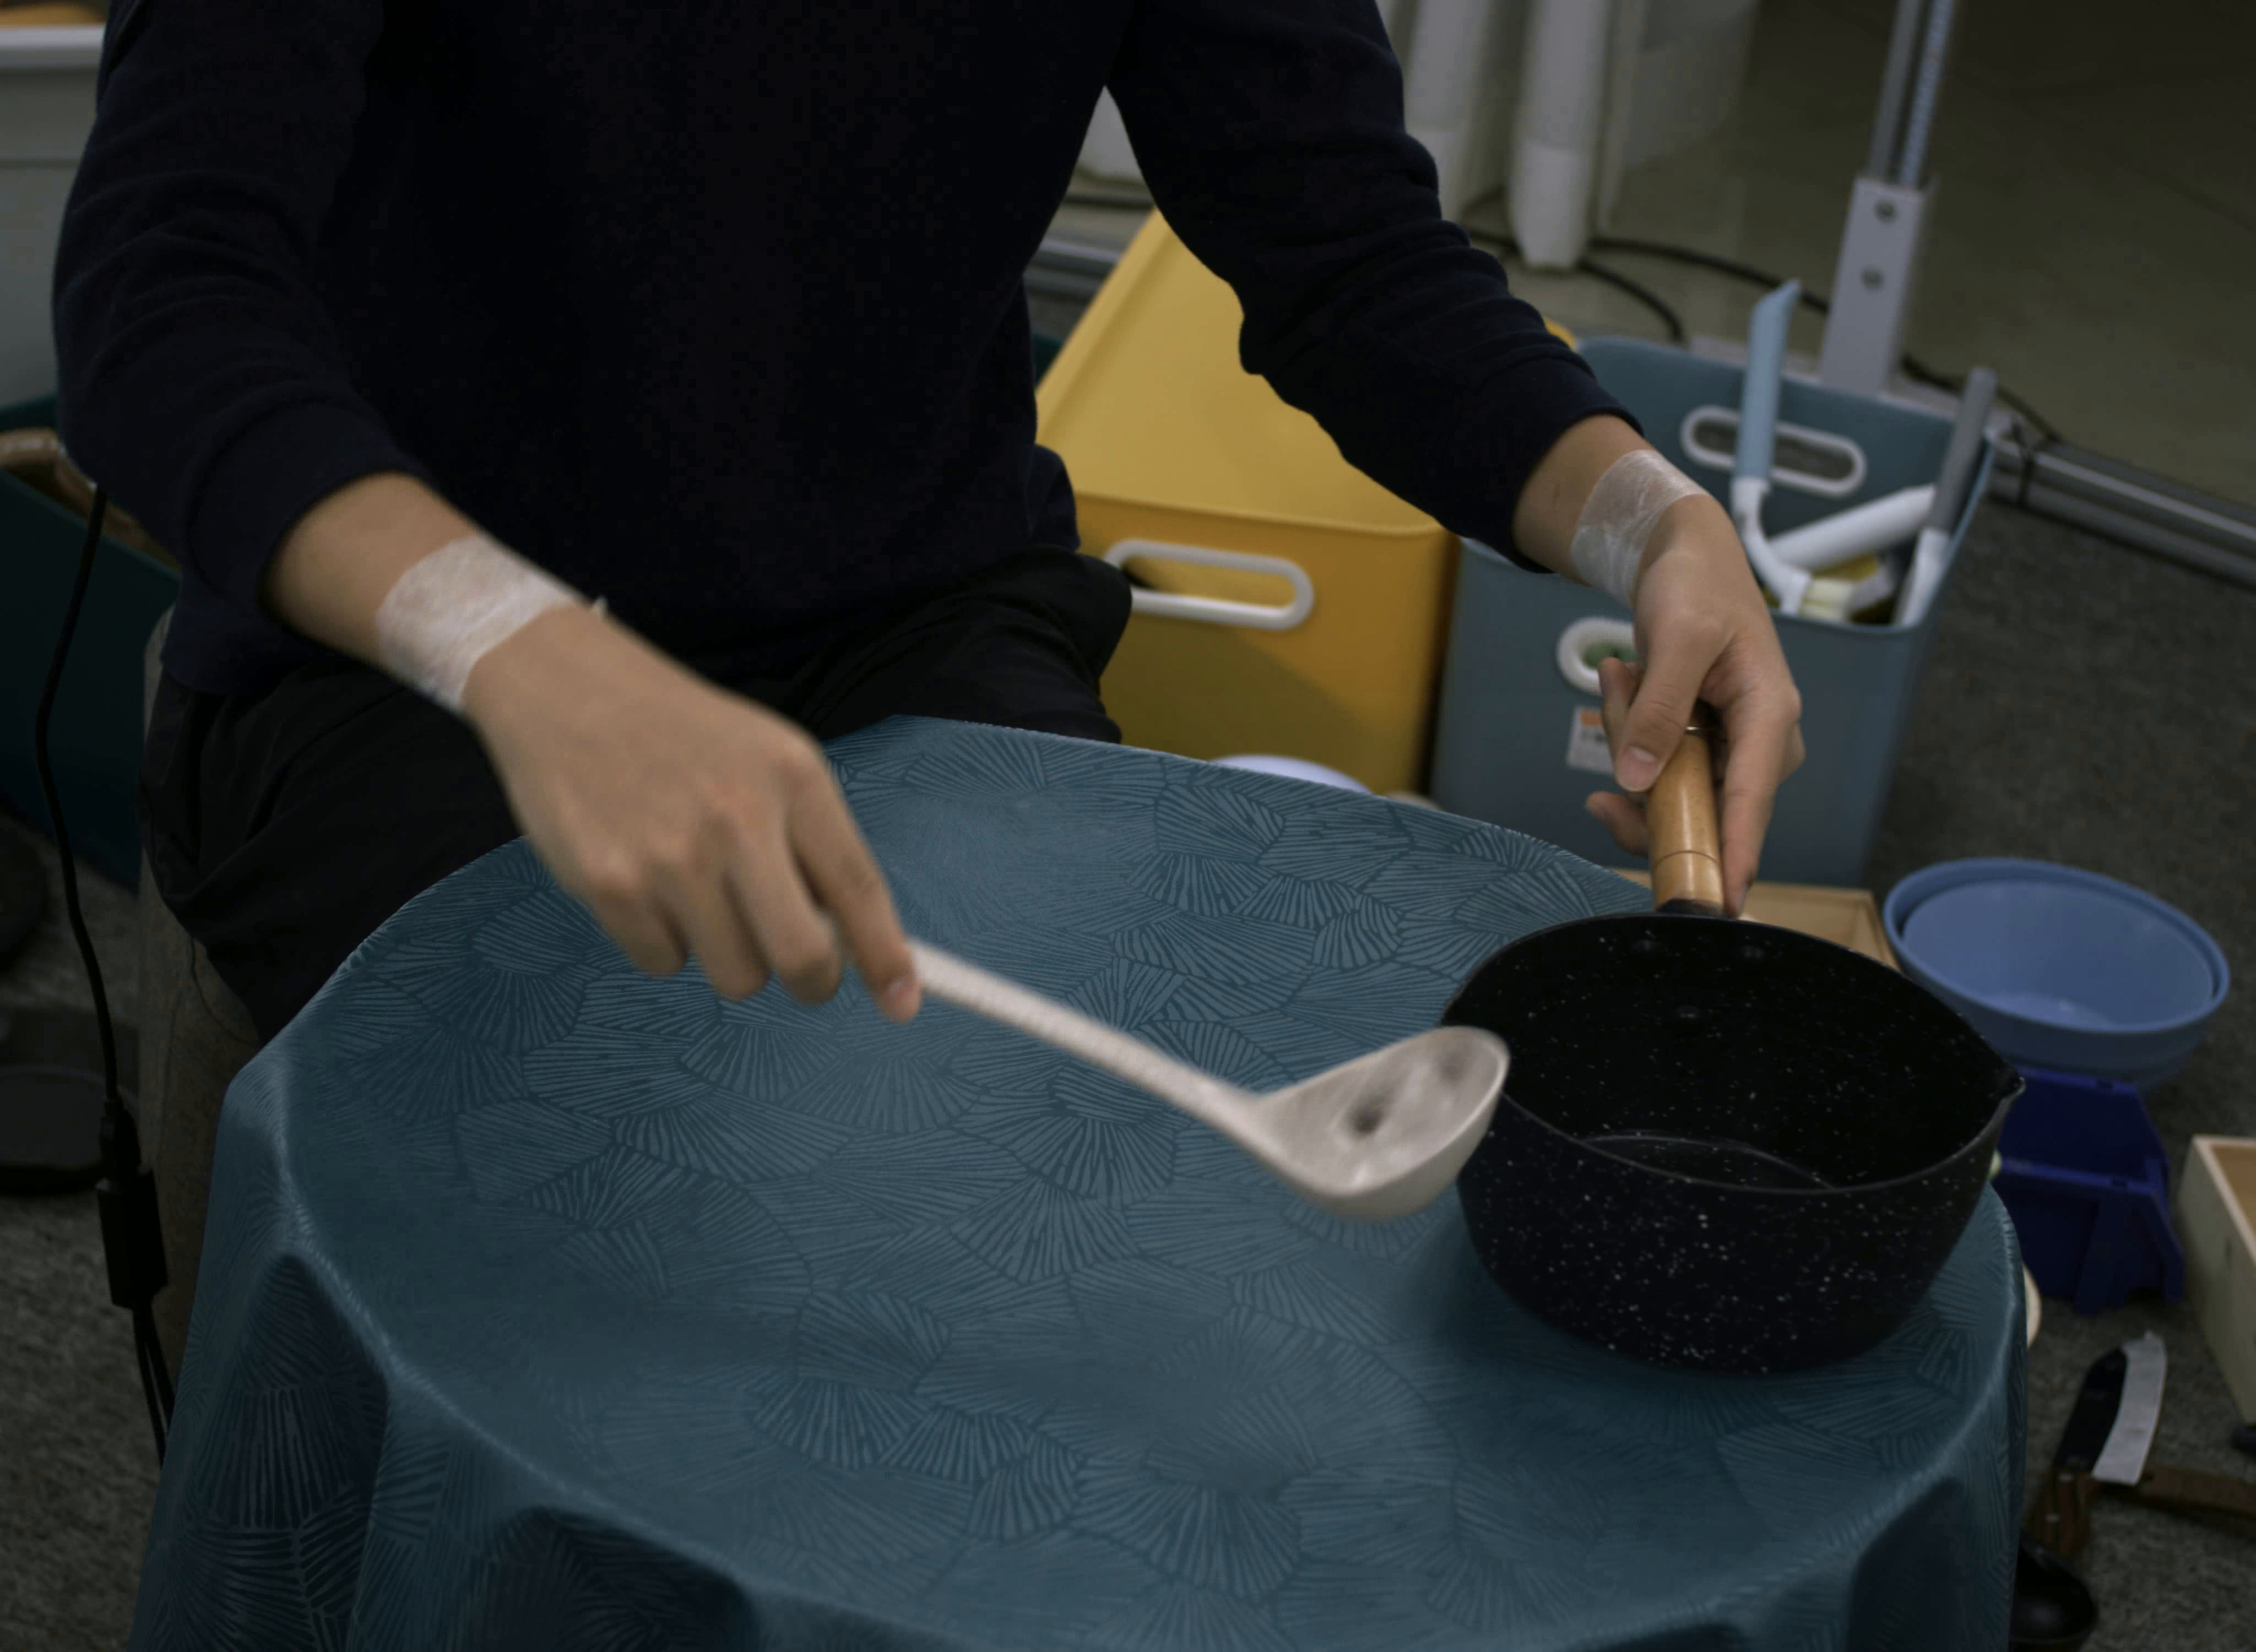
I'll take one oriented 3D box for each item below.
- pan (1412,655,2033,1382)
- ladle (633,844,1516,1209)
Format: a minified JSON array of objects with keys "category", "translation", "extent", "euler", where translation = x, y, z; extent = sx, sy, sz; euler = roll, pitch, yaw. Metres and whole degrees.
[{"category":"pan","translation":[0.193,0.063,1.847],"extent":[0.207,0.108,0.345],"euler":[4,28,-3]},{"category":"ladle","translation":[-0.015,0.040,1.636],"extent":[0.274,0.069,0.090],"euler":[25,29,-5]}]
